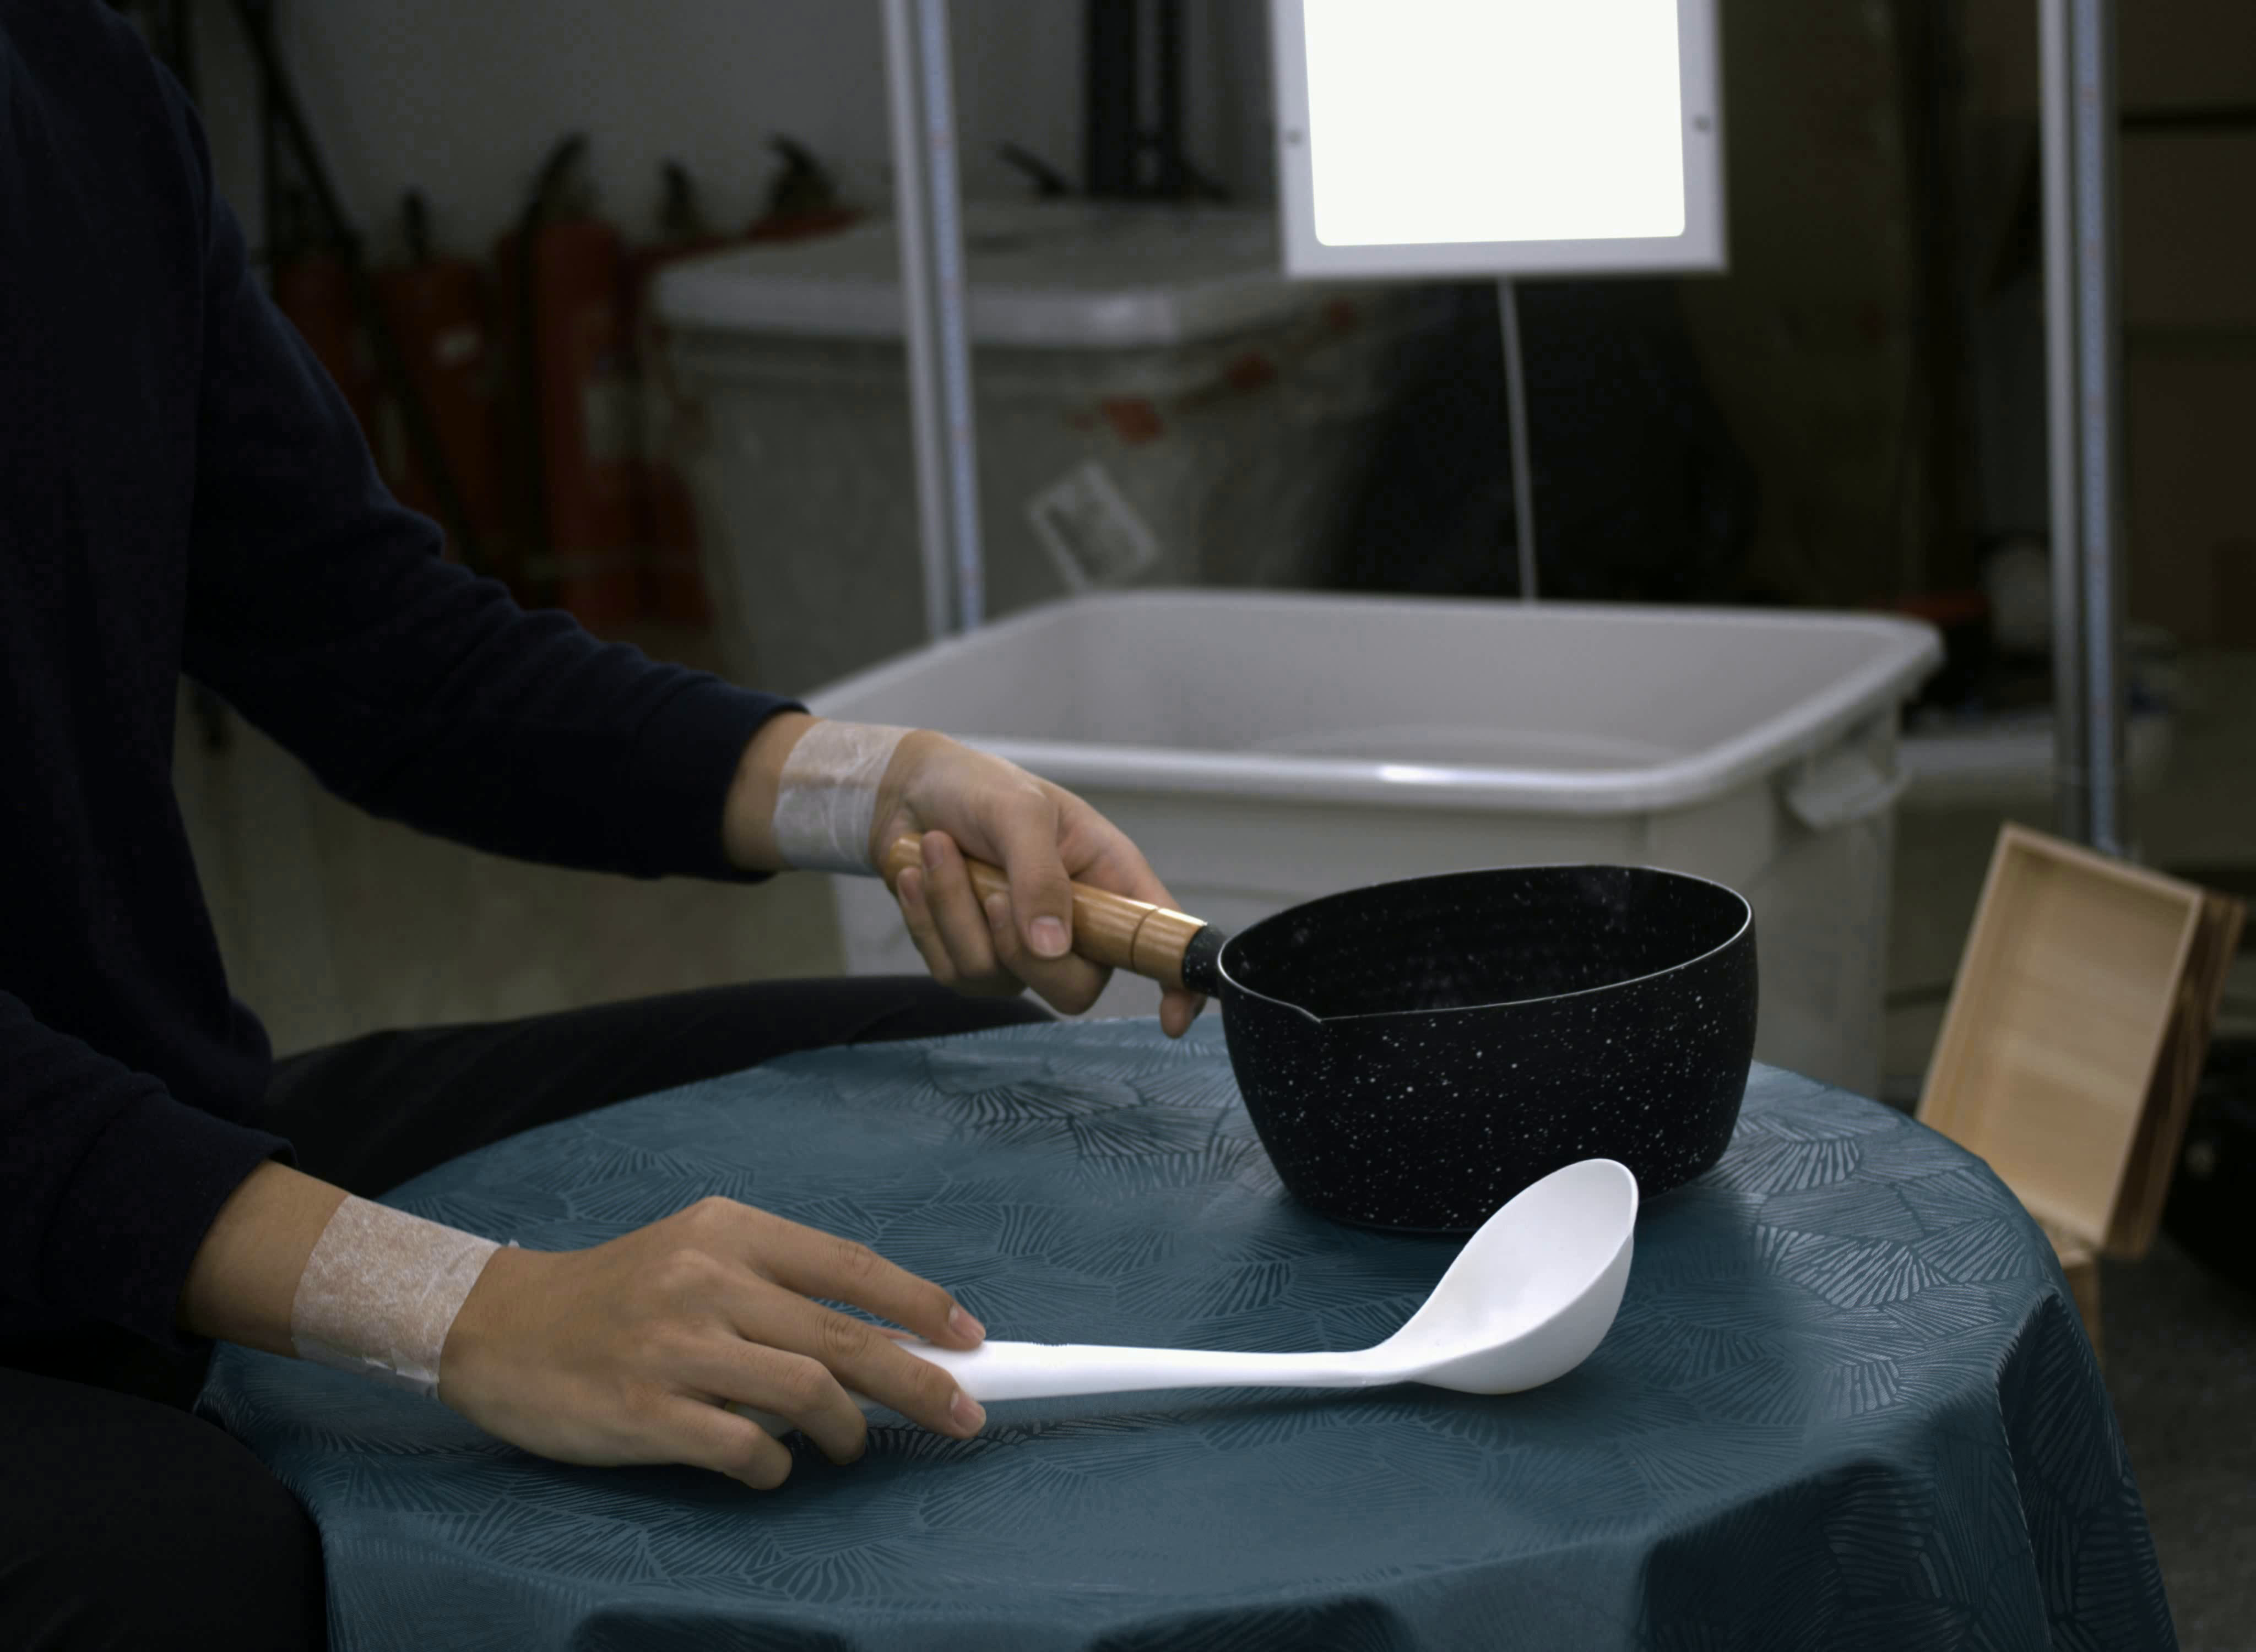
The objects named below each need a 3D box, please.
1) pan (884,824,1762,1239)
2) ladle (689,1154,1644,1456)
[{"bbox_3d":[0.058,0.062,1.913,0.350,0.108,0.202,4,17,35],"label":"pan"},{"bbox_3d":[0.011,0.149,1.659,0.292,0.070,0.090,-4,28,1],"label":"ladle"}]
